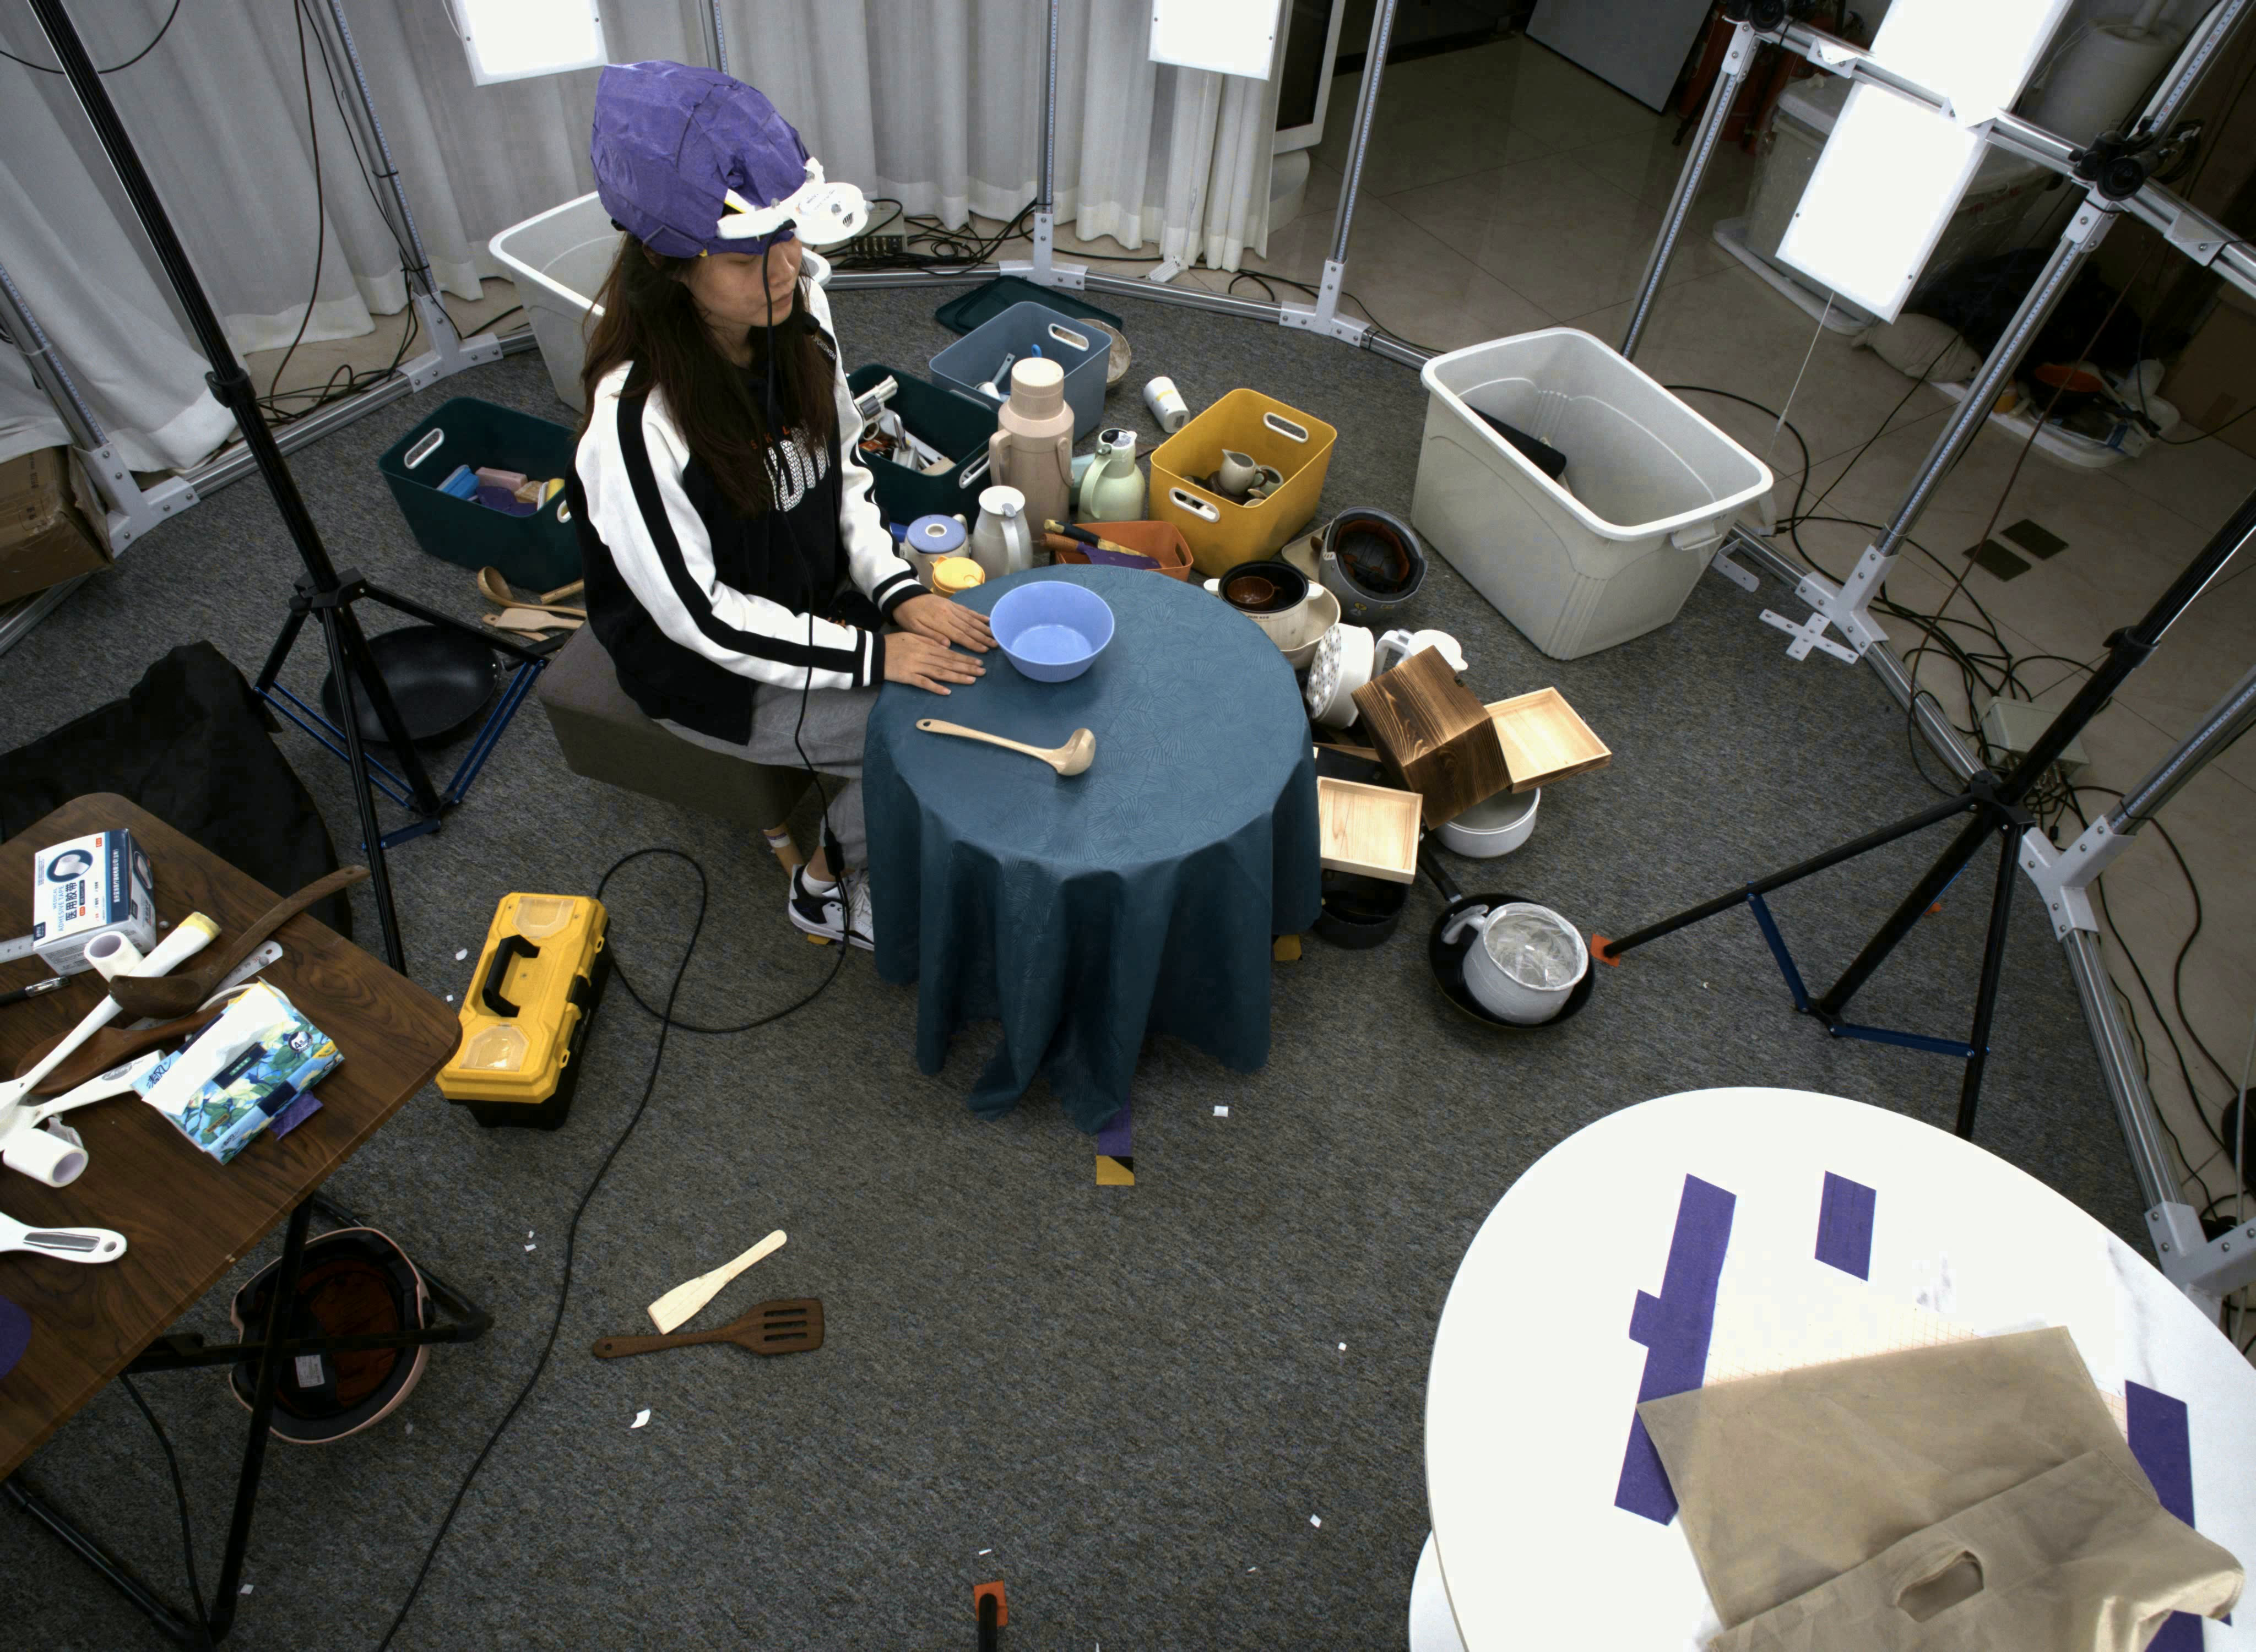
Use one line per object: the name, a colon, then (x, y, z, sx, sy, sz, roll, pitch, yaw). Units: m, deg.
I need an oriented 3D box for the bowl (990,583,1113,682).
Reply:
bowl: (-0.110, -0.269, 1.851, 0.176, 0.068, 0.180, 2, 48, -3)

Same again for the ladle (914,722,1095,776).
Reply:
ladle: (-0.170, -0.124, 1.719, 0.255, 0.071, 0.073, 13, 62, 8)
